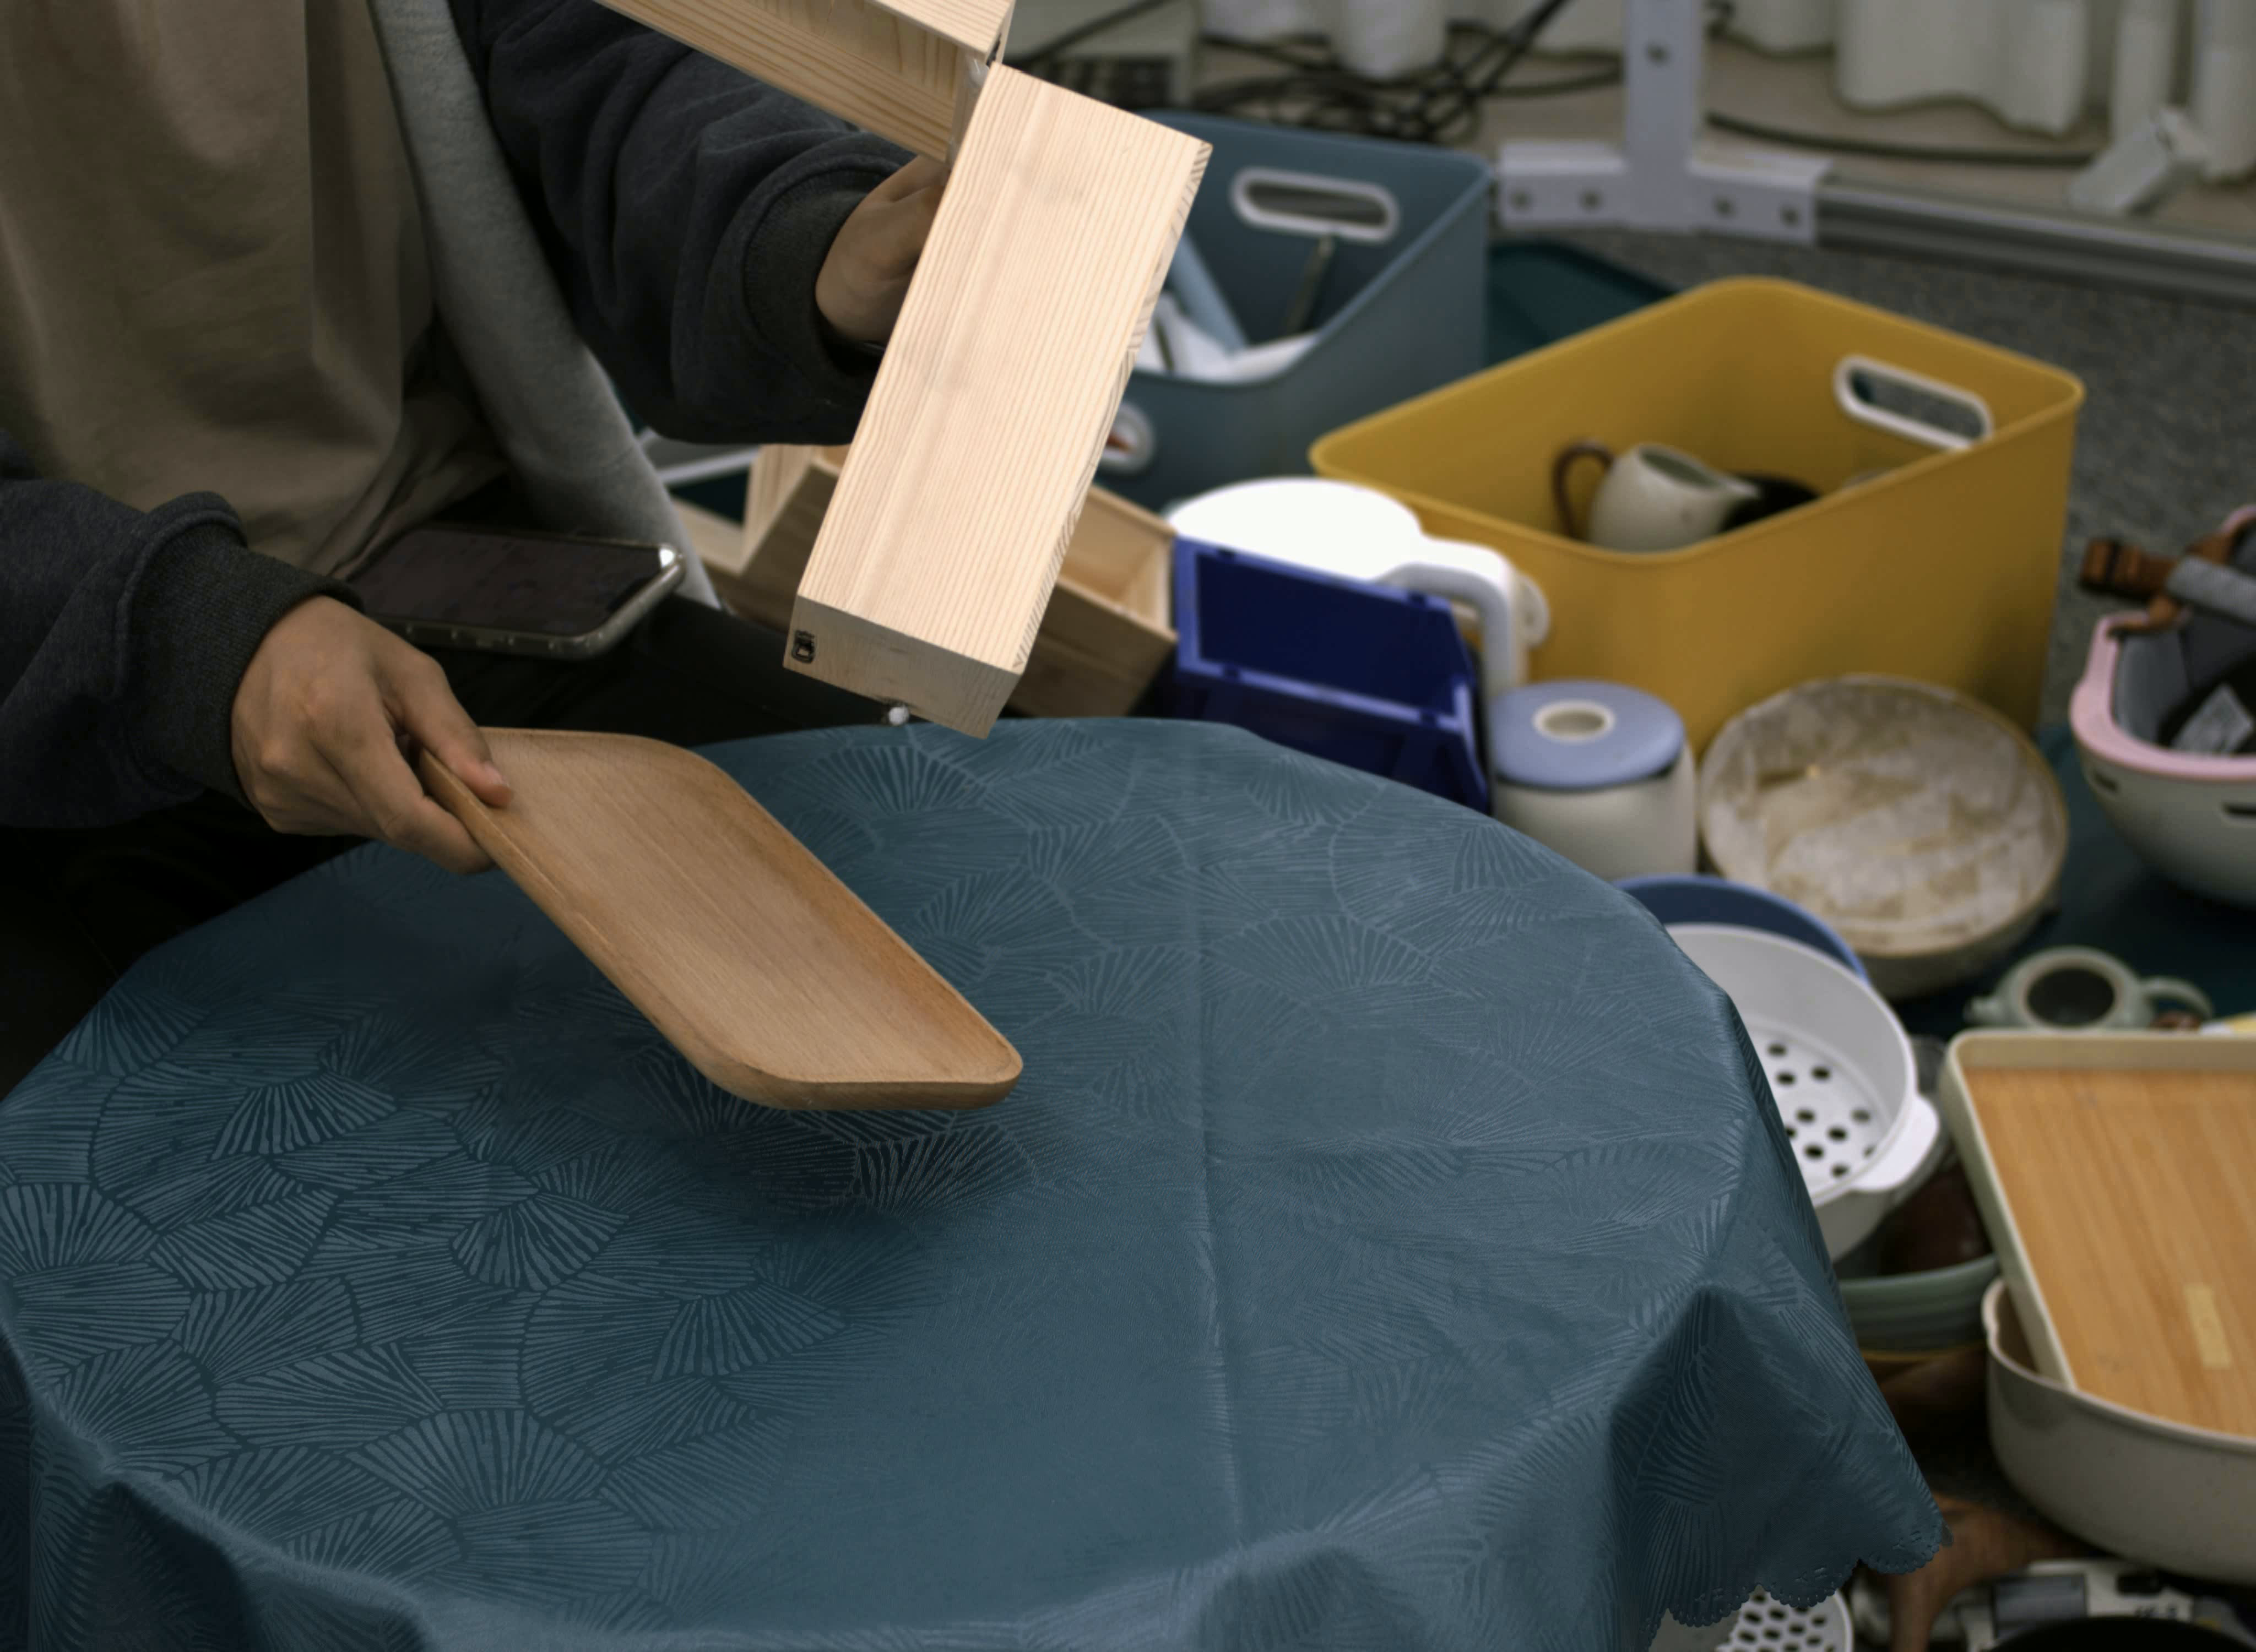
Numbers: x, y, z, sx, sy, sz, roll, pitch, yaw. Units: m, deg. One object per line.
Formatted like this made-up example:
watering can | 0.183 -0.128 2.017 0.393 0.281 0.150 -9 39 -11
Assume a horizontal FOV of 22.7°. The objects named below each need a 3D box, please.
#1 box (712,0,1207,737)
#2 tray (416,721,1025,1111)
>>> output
box | -0.119 -0.199 1.842 0.252 0.268 0.180 21 -10 -5
tray | -0.142 0.030 1.917 0.131 0.023 0.252 7 23 -39
